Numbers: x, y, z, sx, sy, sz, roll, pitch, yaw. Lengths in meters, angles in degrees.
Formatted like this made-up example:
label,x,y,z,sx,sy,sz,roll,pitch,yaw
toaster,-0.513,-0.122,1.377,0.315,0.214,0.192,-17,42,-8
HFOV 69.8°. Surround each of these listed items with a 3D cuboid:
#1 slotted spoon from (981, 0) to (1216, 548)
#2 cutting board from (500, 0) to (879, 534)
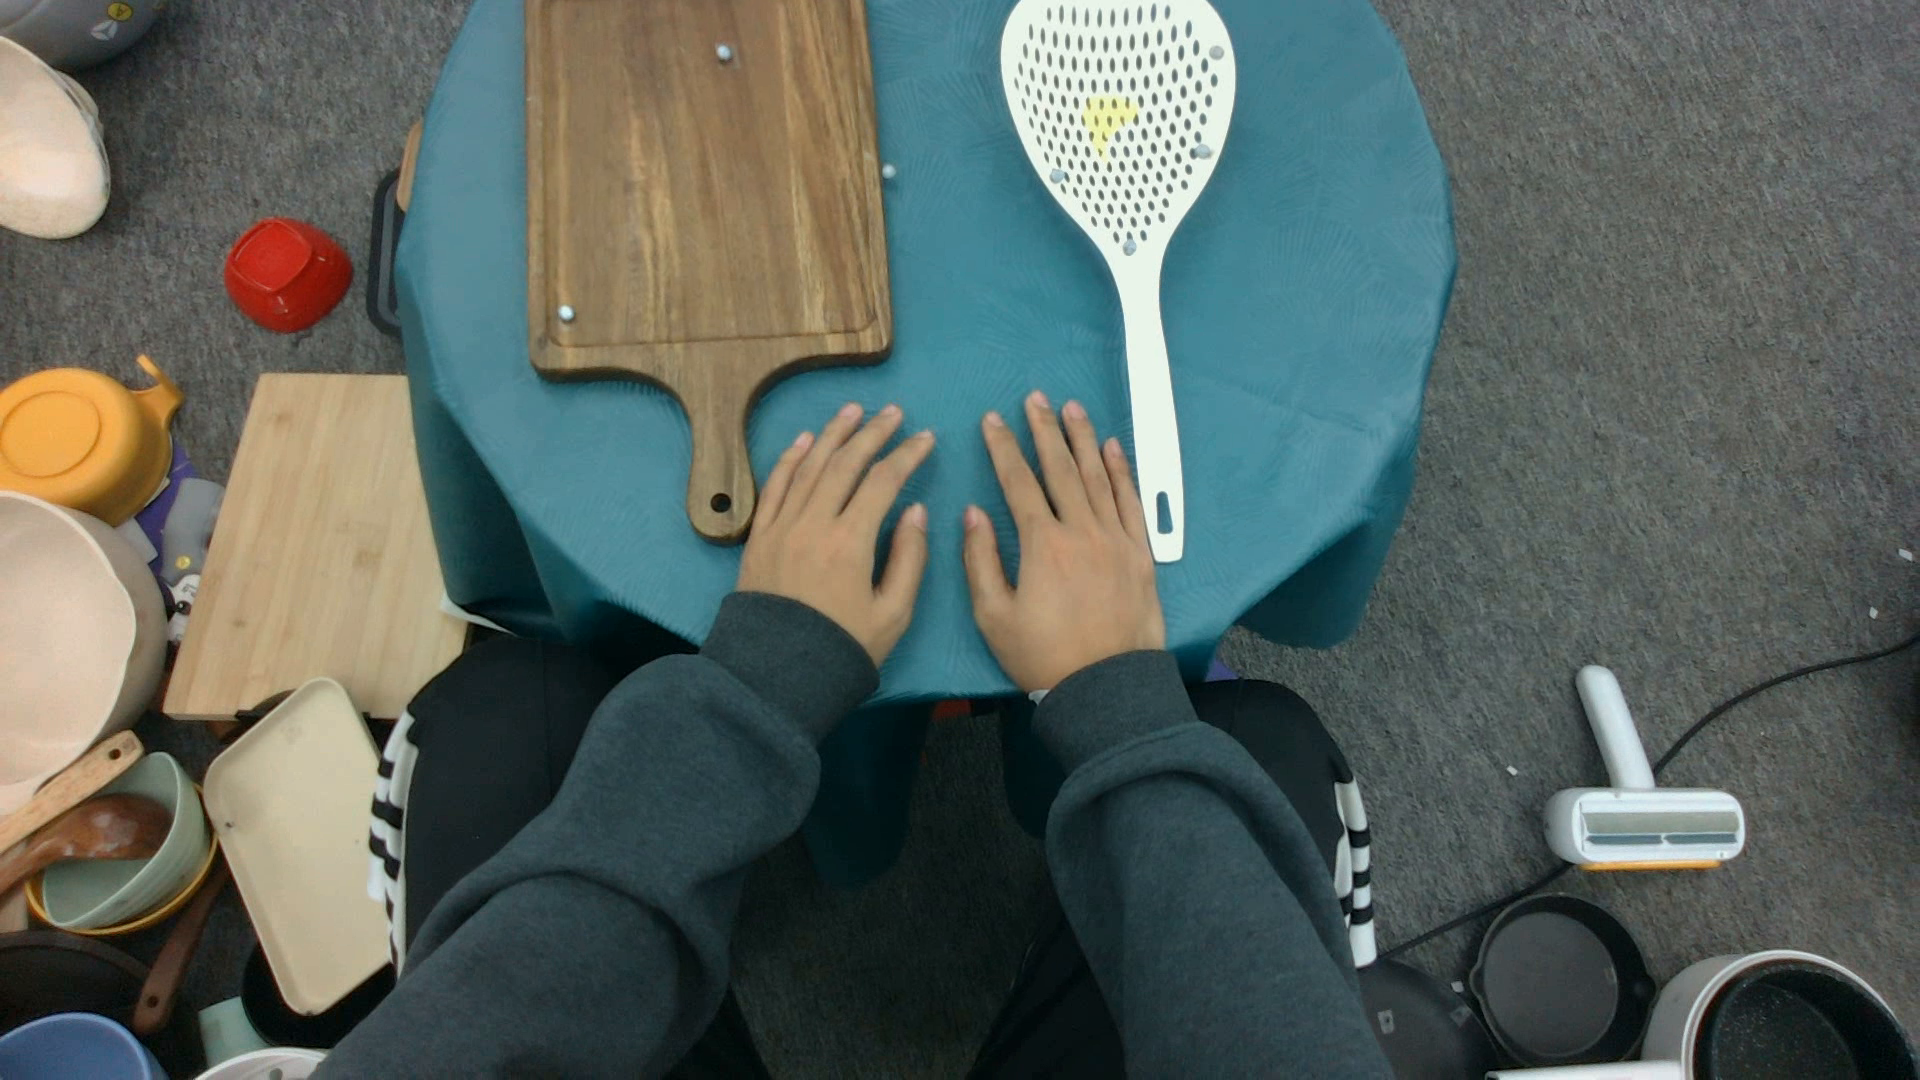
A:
label,x,y,z,sx,sy,sz,roll,pitch,yaw
slotted spoon,0.089,-0.168,0.774,0.137,0.050,0.348,-4,74,-8
cutting board,-0.151,-0.174,0.768,0.201,0.023,0.353,-5,74,-5
